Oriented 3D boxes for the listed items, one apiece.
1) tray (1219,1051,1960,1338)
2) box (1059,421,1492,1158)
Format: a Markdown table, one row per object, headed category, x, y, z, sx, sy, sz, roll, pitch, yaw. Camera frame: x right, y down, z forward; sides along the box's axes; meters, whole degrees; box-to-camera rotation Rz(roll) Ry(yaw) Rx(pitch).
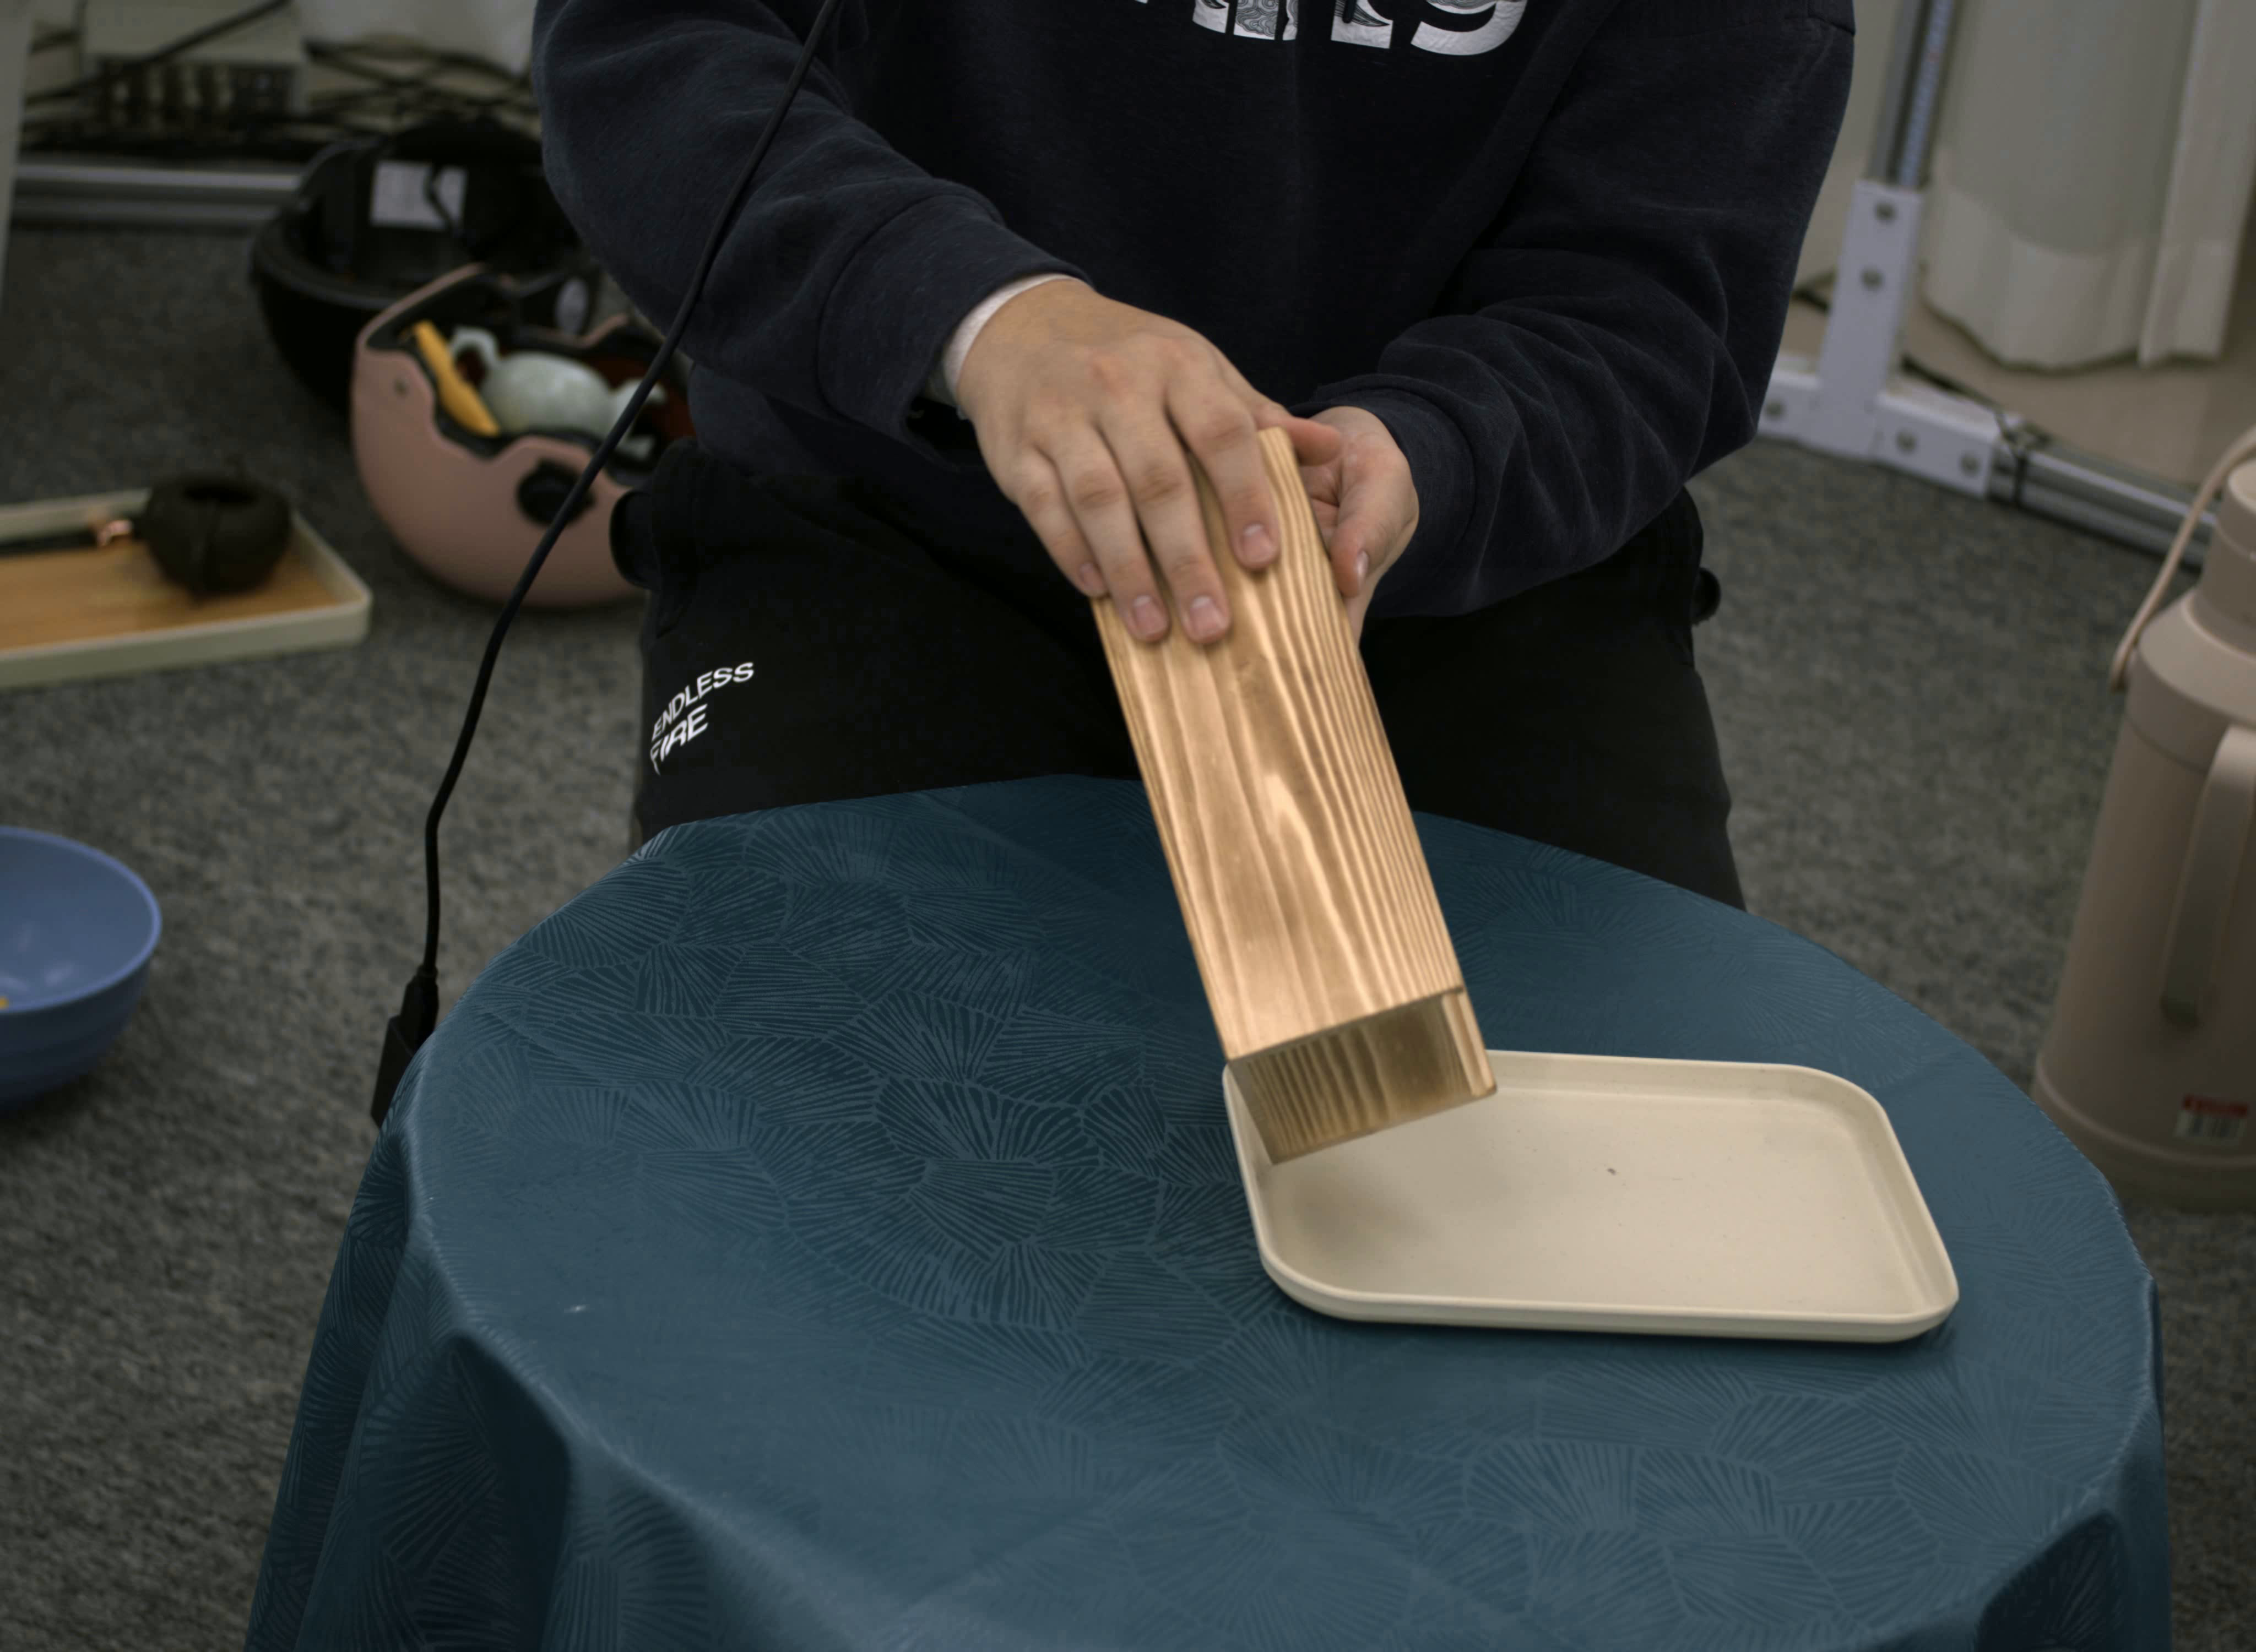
| category | x | y | z | sx | sy | sz | roll | pitch | yaw |
| --- | --- | --- | --- | --- | --- | --- | --- | --- | --- |
| tray | 0.155 | 0.126 | 1.820 | 0.238 | 0.017 | 0.172 | 3 | 26 | -8 |
| box | 0.049 | -0.012 | 1.772 | 0.080 | 0.107 | 0.213 | -18 | 65 | 4 |
